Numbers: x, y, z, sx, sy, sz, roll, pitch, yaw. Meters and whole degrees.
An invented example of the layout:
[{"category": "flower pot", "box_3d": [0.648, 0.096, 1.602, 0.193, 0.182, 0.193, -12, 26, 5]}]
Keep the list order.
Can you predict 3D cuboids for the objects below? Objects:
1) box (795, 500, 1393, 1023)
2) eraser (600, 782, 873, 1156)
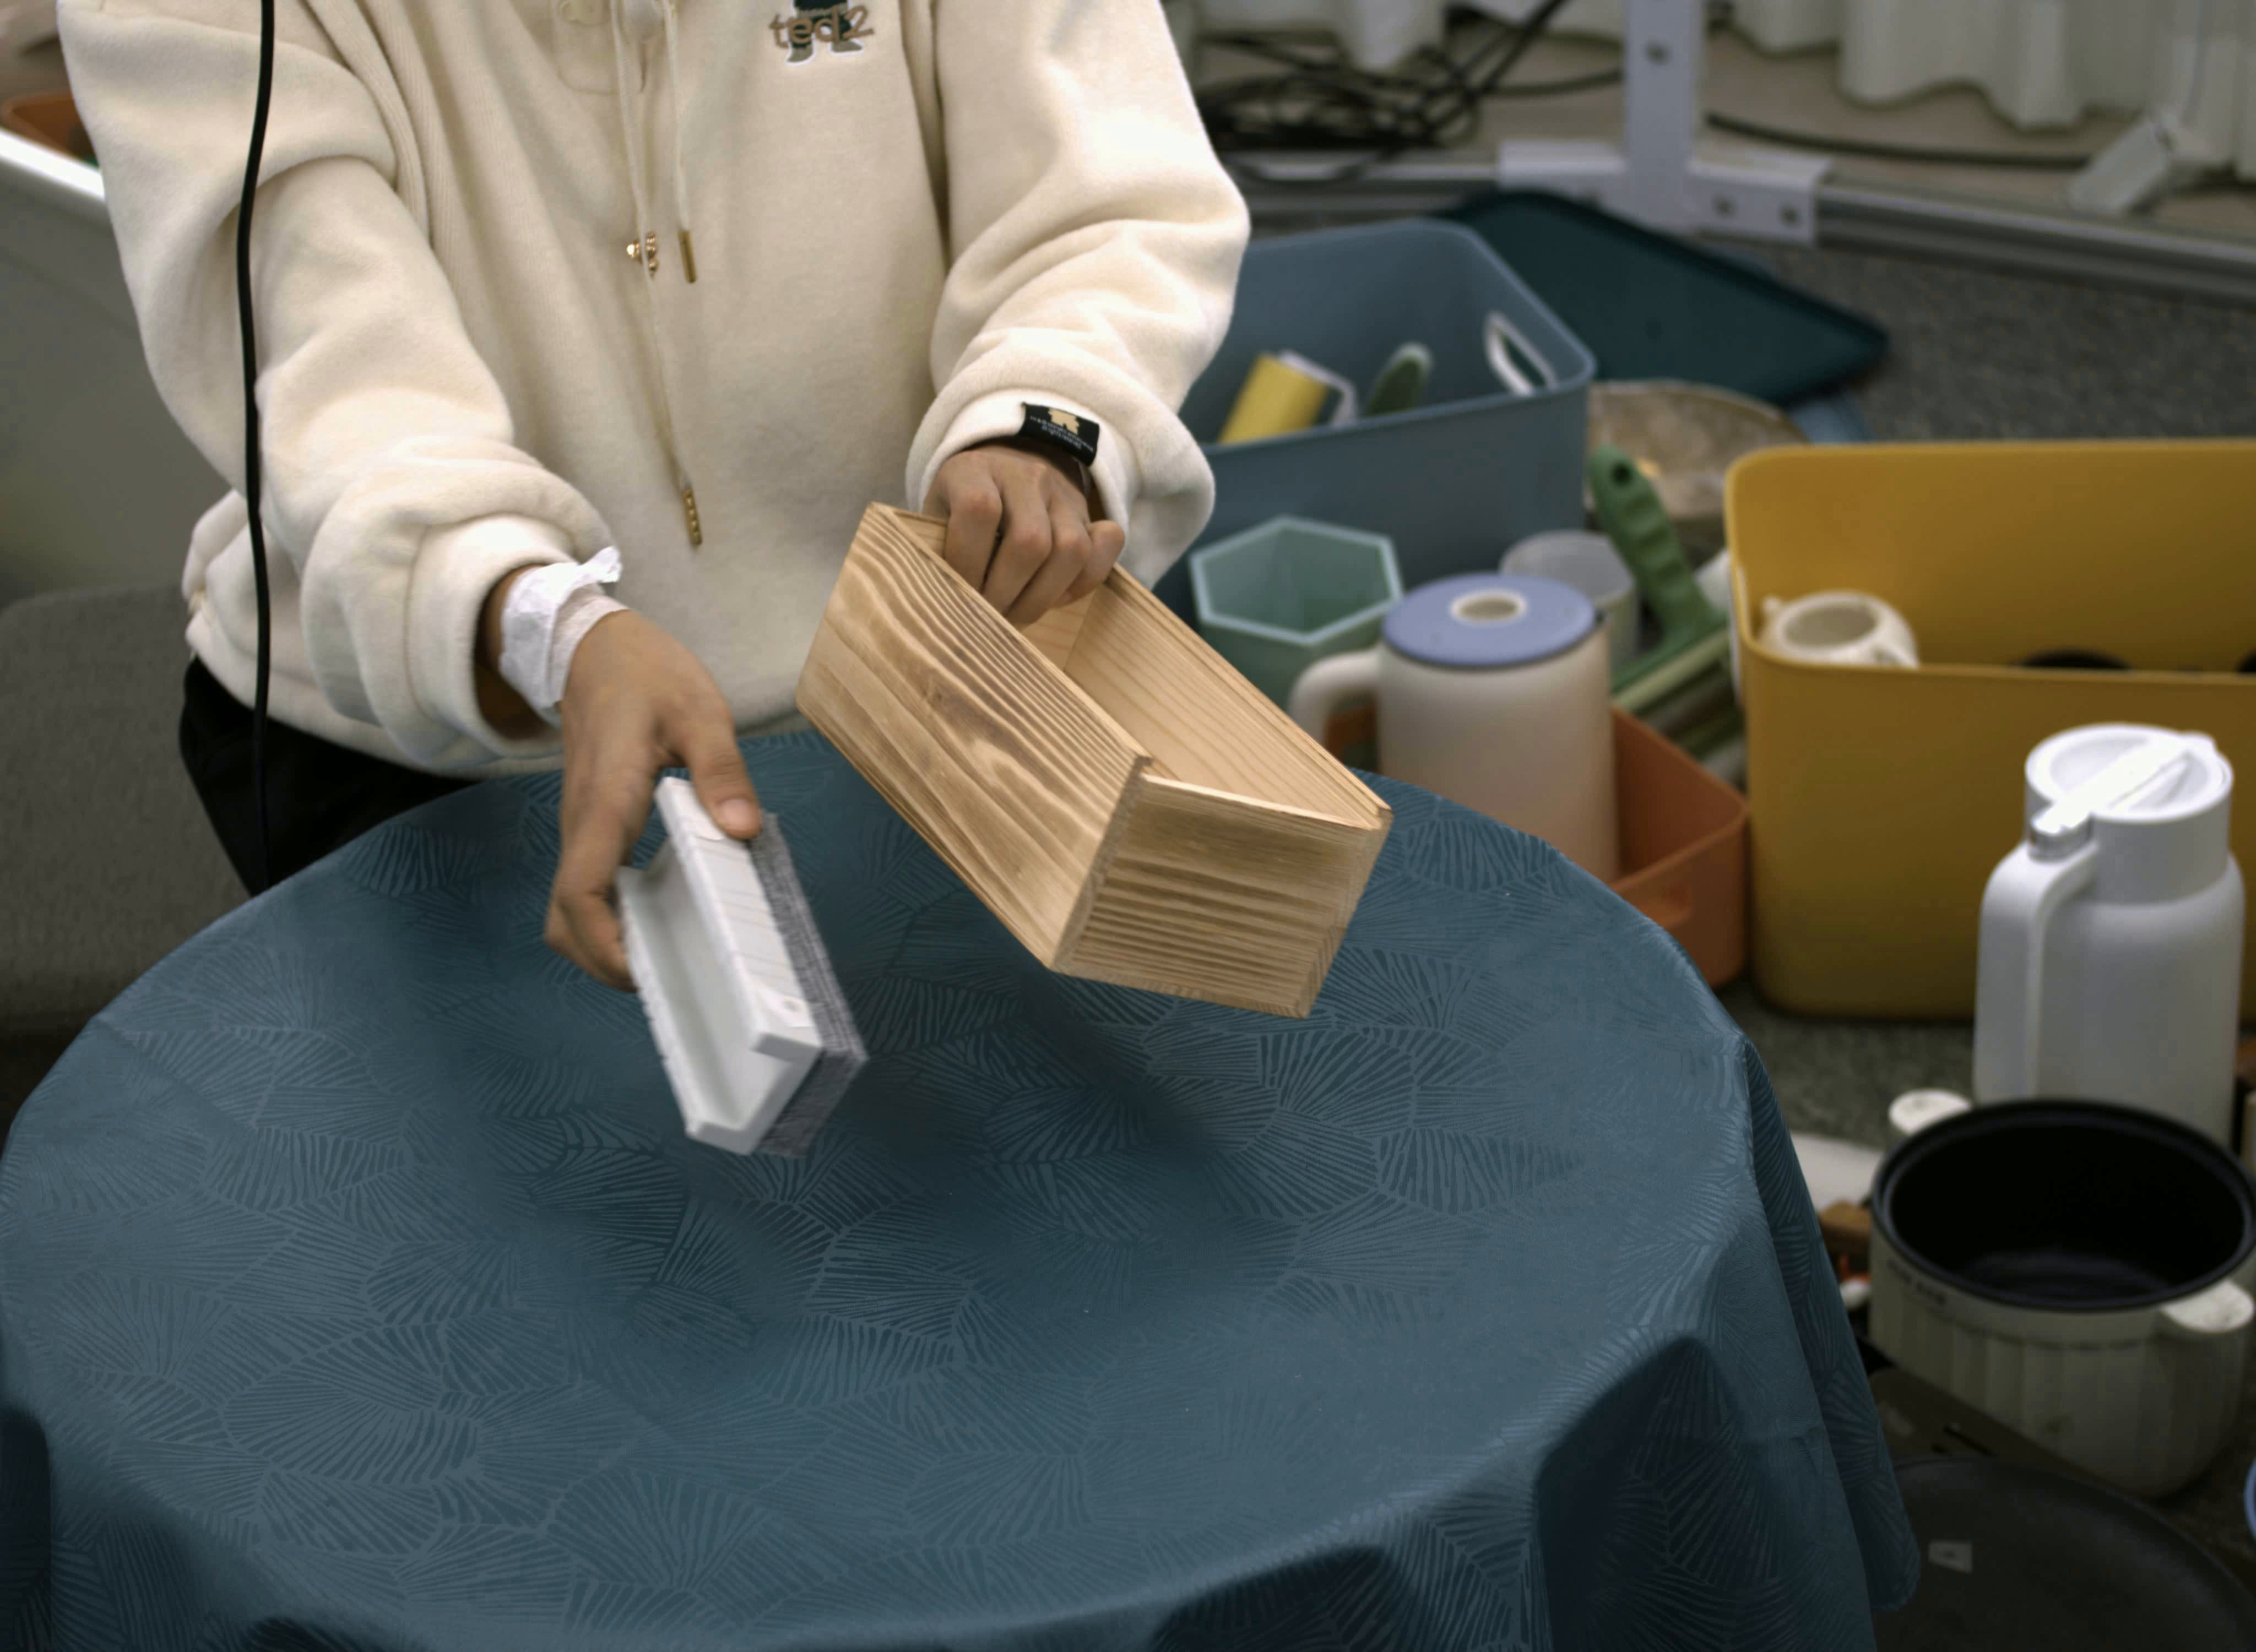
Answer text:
[{"category": "box", "box_3d": [-0.015, -0.023, 1.910, 0.107, 0.080, 0.213, 13, 19, -34]}, {"category": "eraser", "box_3d": [-0.129, 0.047, 1.845, 0.046, 0.049, 0.136, 16, 27, -33]}]
